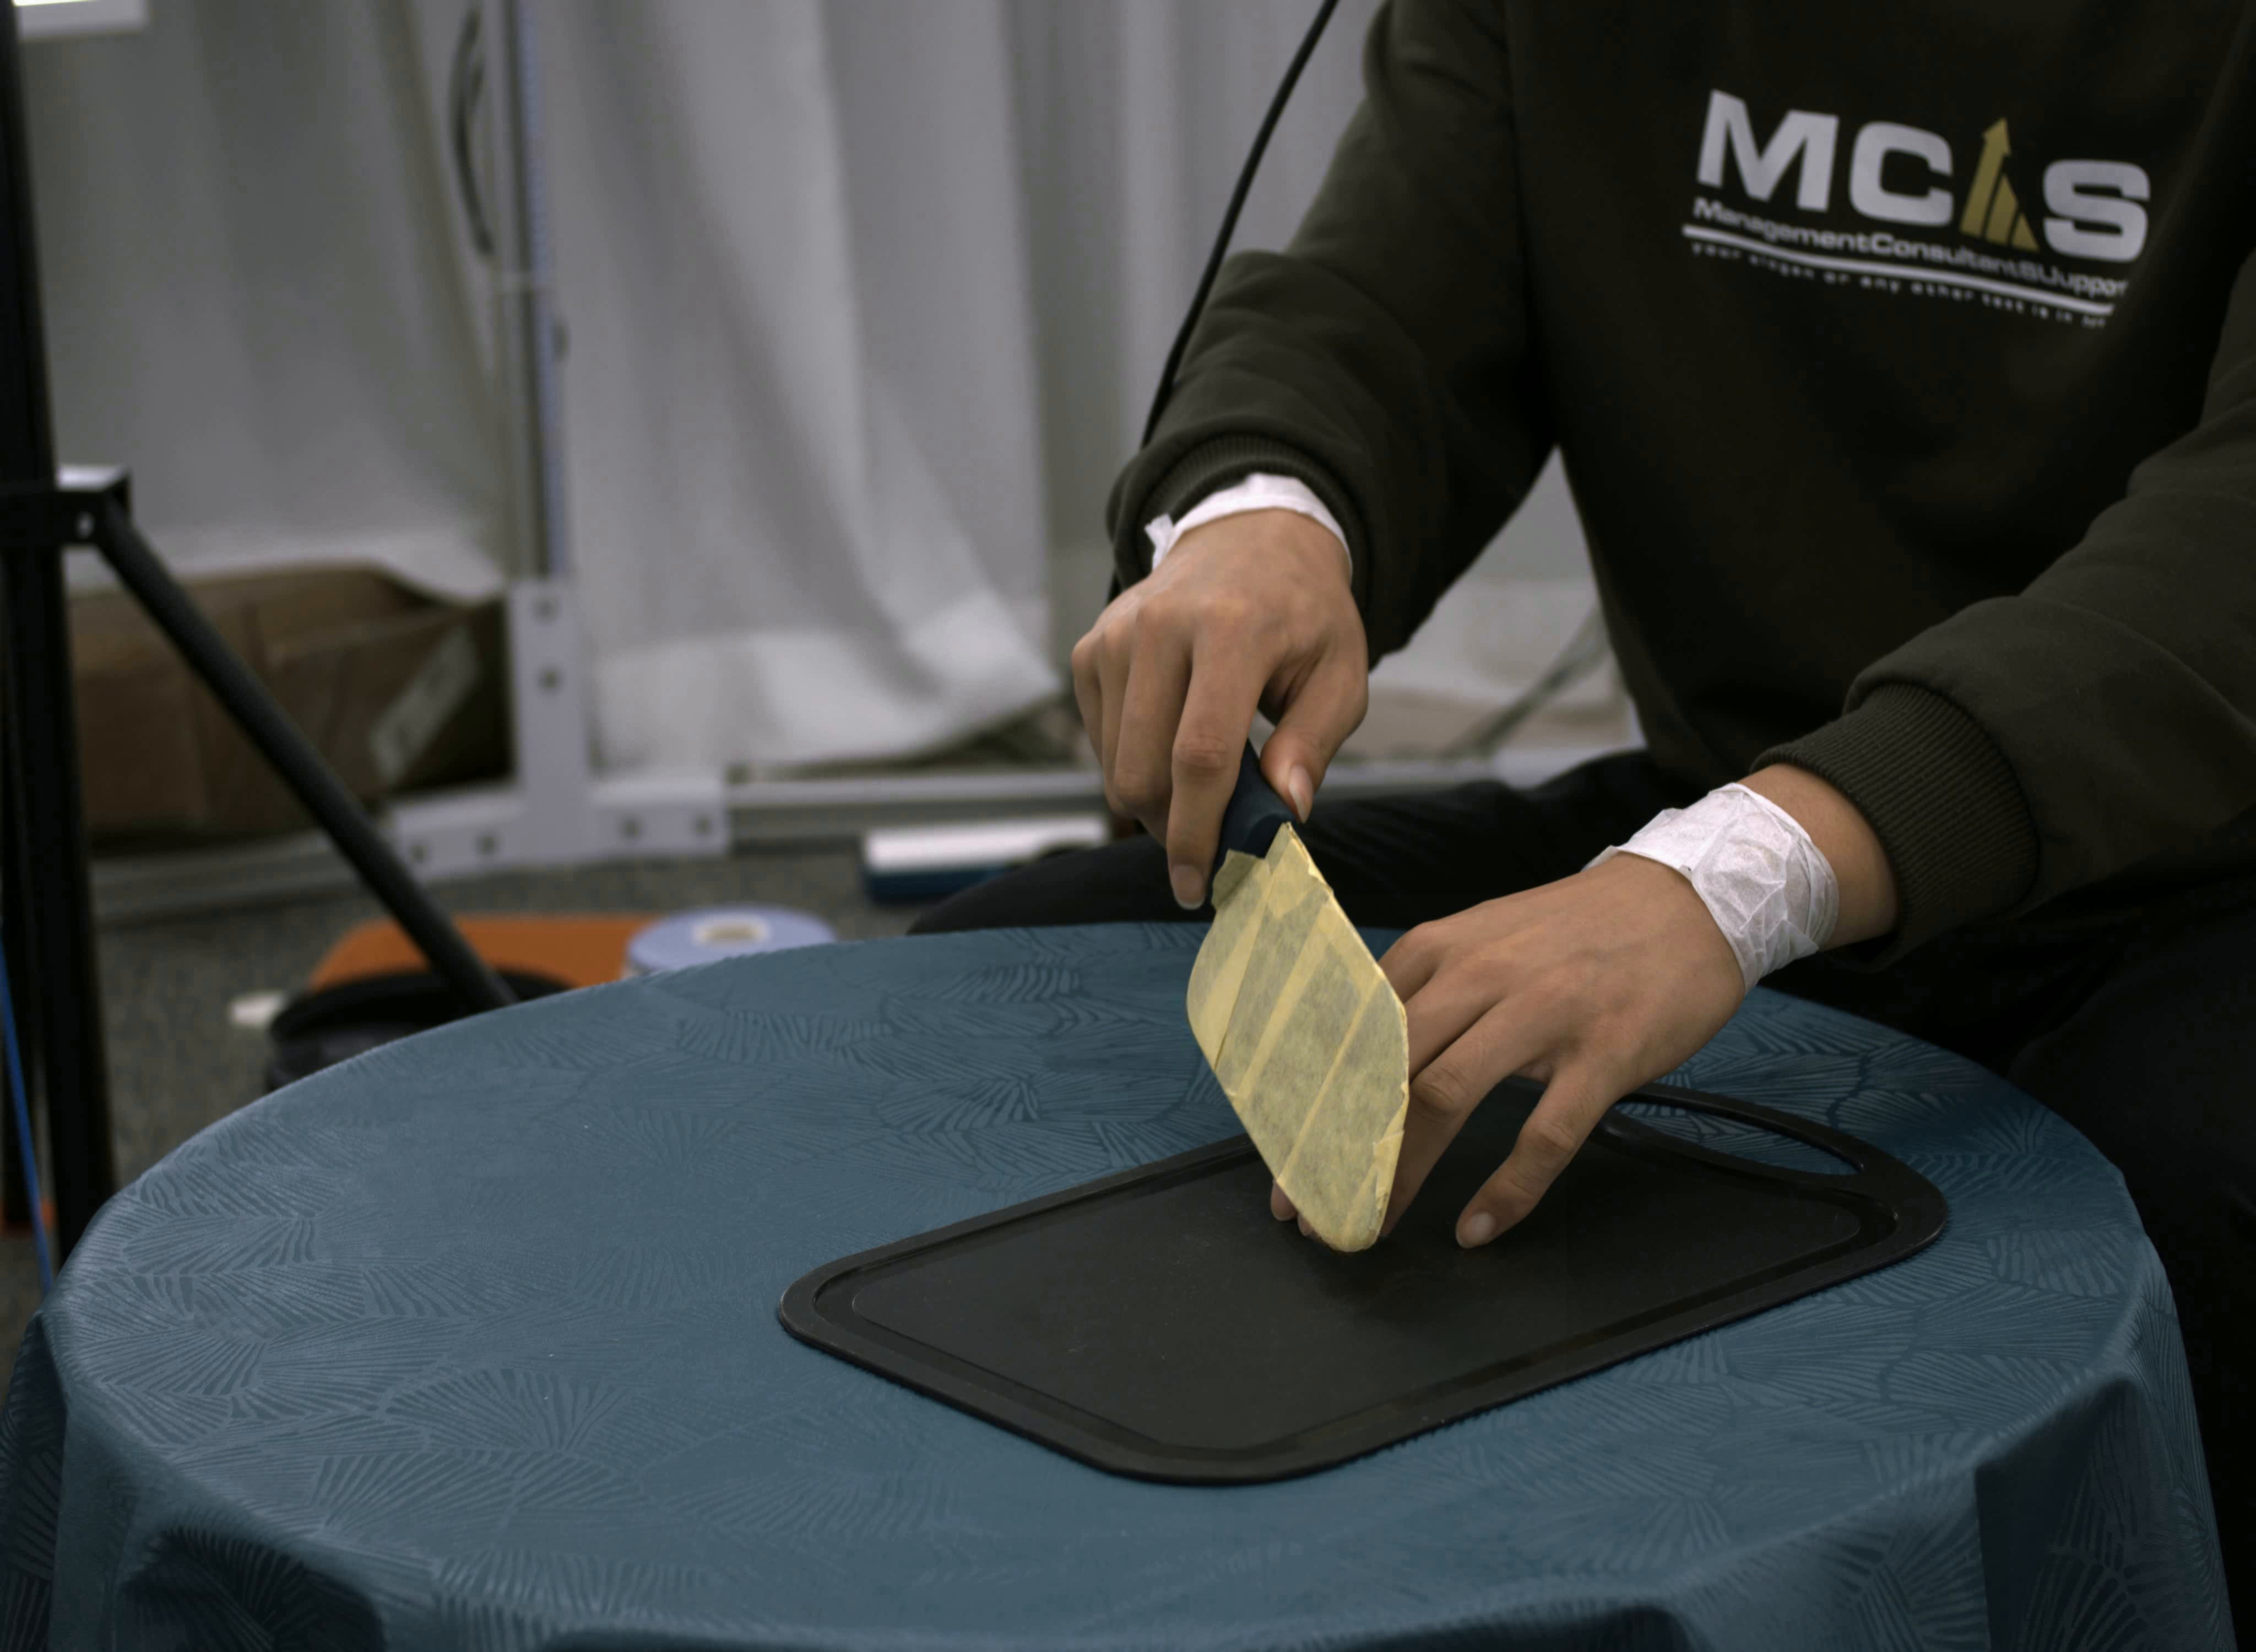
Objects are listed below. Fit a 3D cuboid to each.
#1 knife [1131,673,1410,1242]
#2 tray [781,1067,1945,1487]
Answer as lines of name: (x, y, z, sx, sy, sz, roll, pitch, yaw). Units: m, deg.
knife: (0.037, 0.034, 1.573, 0.026, 0.081, 0.294, 19, 23, -23)
tray: (0.075, 0.118, 1.499, 0.318, 0.010, 0.216, -15, 20, -36)
